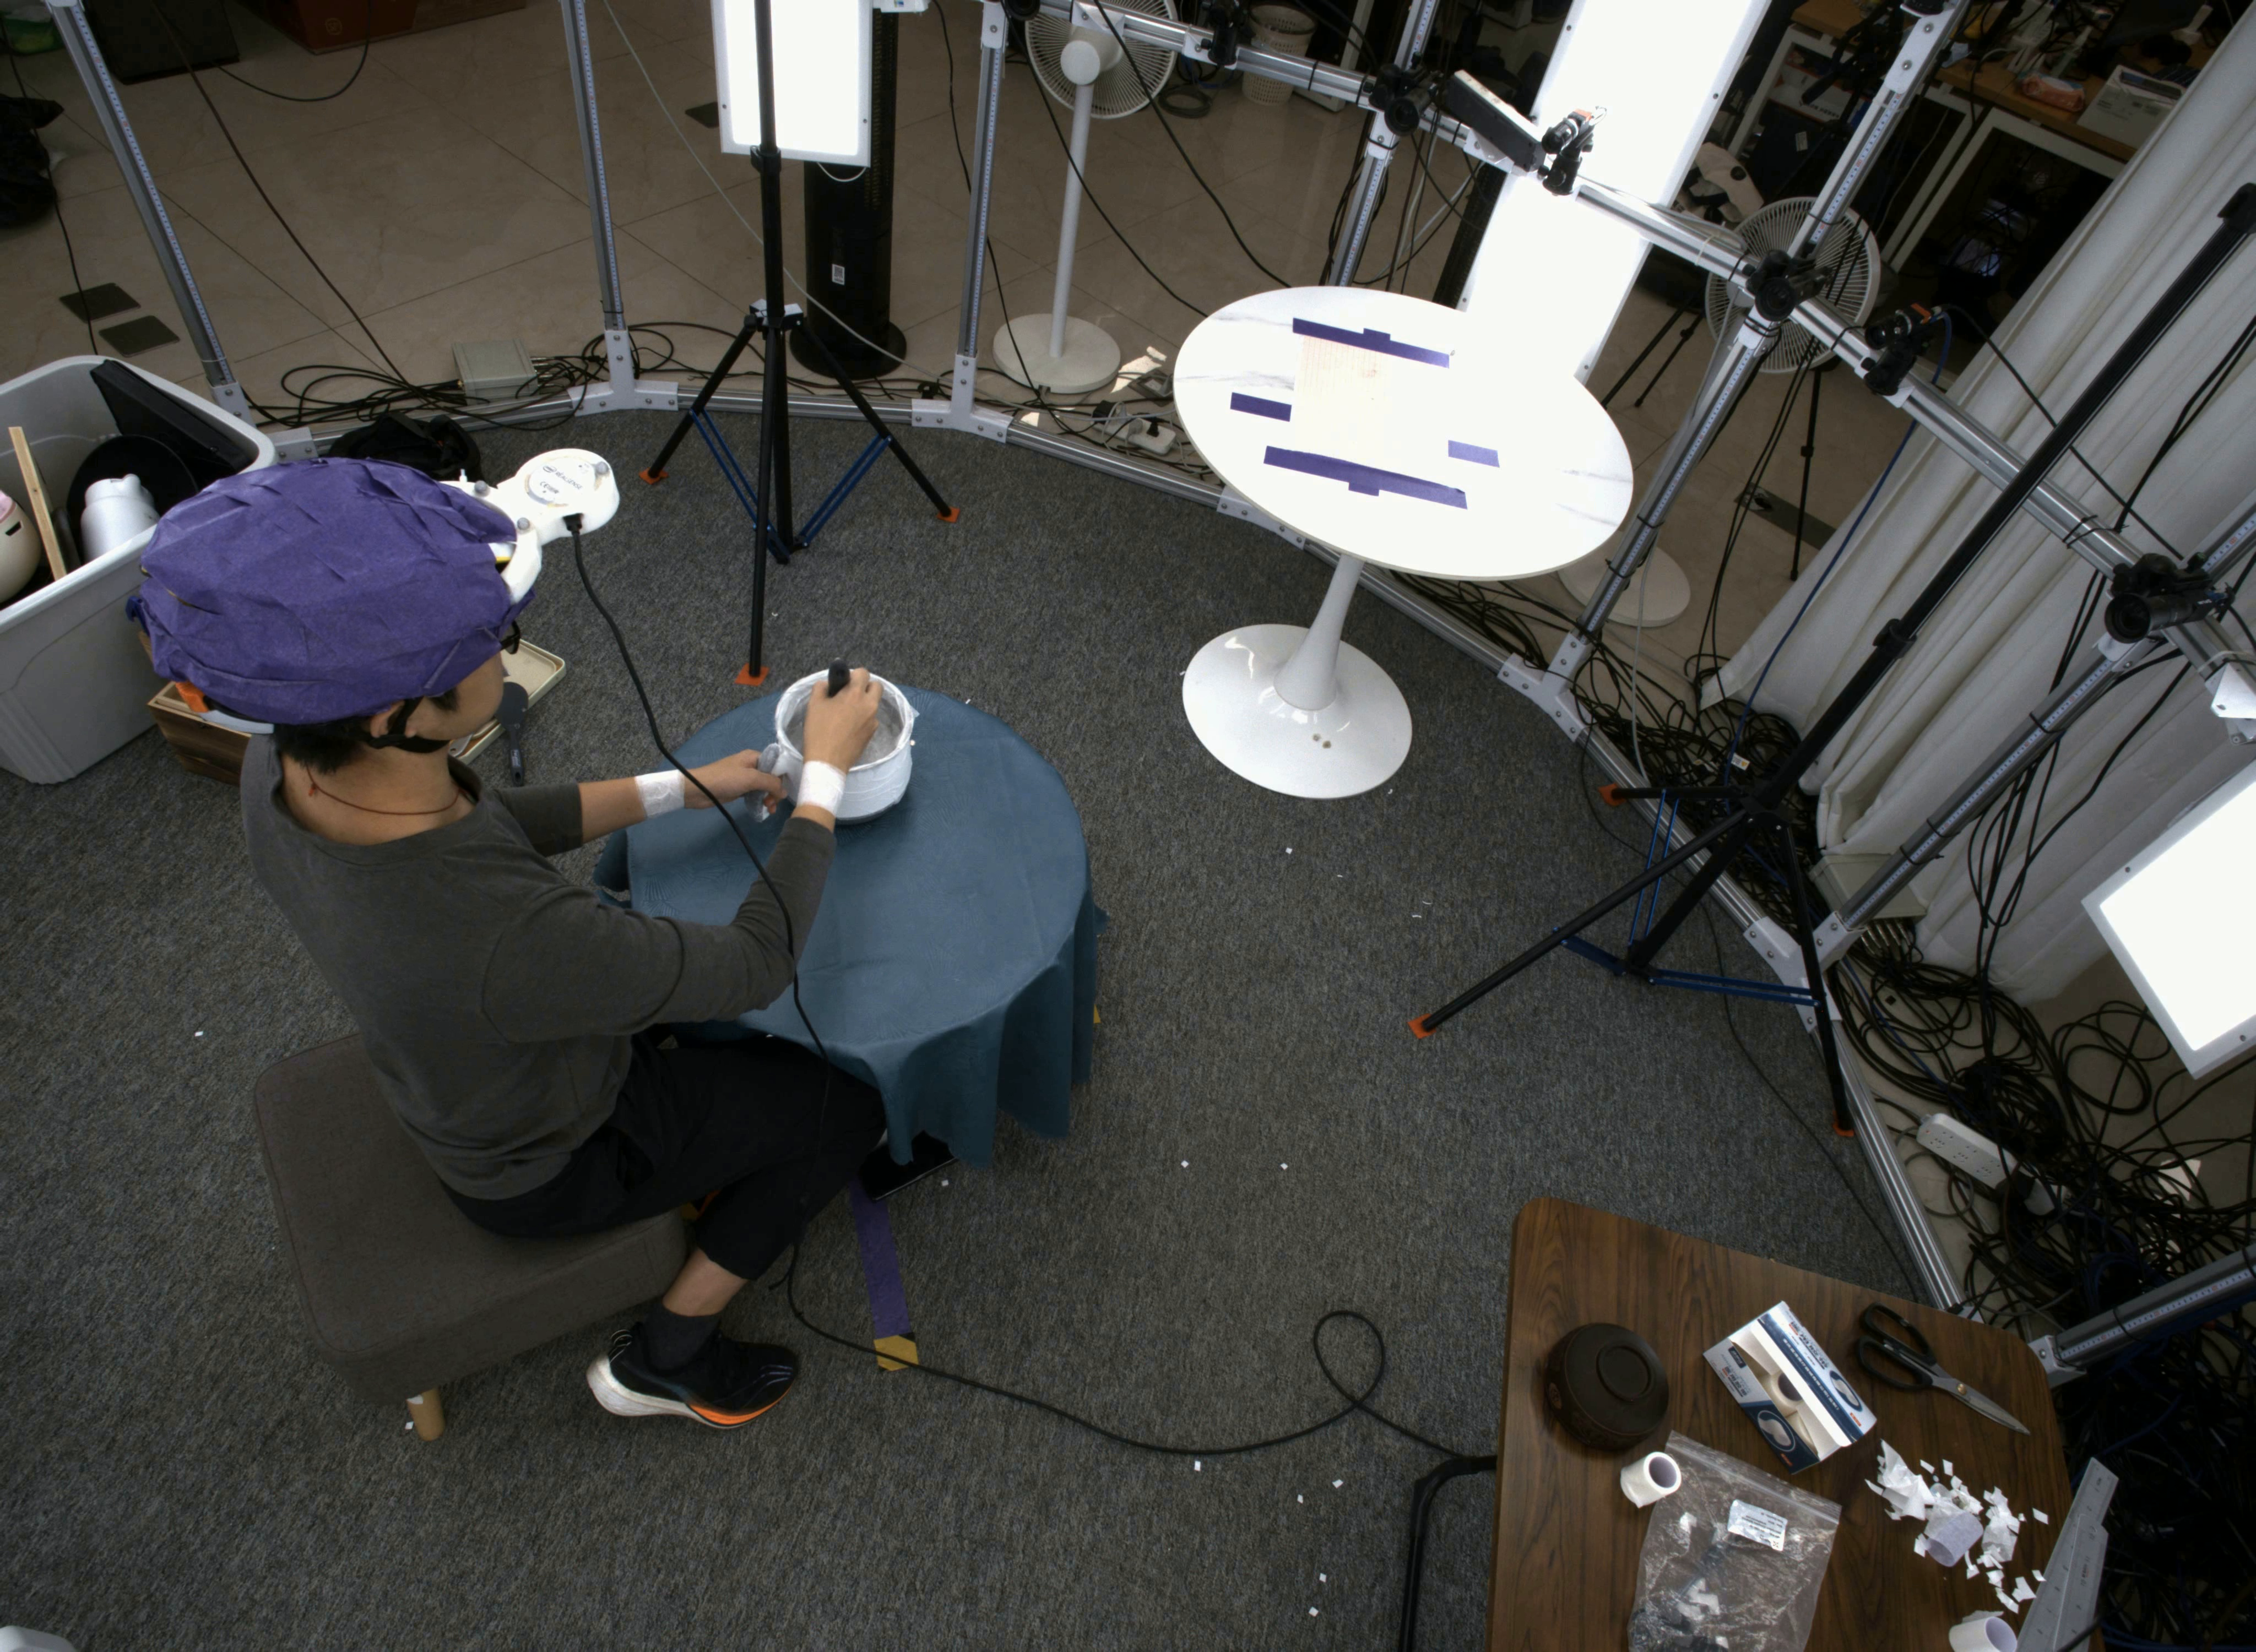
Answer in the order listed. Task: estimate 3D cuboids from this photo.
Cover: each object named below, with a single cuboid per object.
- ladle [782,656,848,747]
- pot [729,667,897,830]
[{"bbox_3d":[-0.381,-0.164,1.579,0.086,0.314,0.064,-13,78,-16],"label":"ladle"},{"bbox_3d":[-0.419,-0.089,1.713,0.234,0.139,0.174,-31,65,-31],"label":"pot"}]
